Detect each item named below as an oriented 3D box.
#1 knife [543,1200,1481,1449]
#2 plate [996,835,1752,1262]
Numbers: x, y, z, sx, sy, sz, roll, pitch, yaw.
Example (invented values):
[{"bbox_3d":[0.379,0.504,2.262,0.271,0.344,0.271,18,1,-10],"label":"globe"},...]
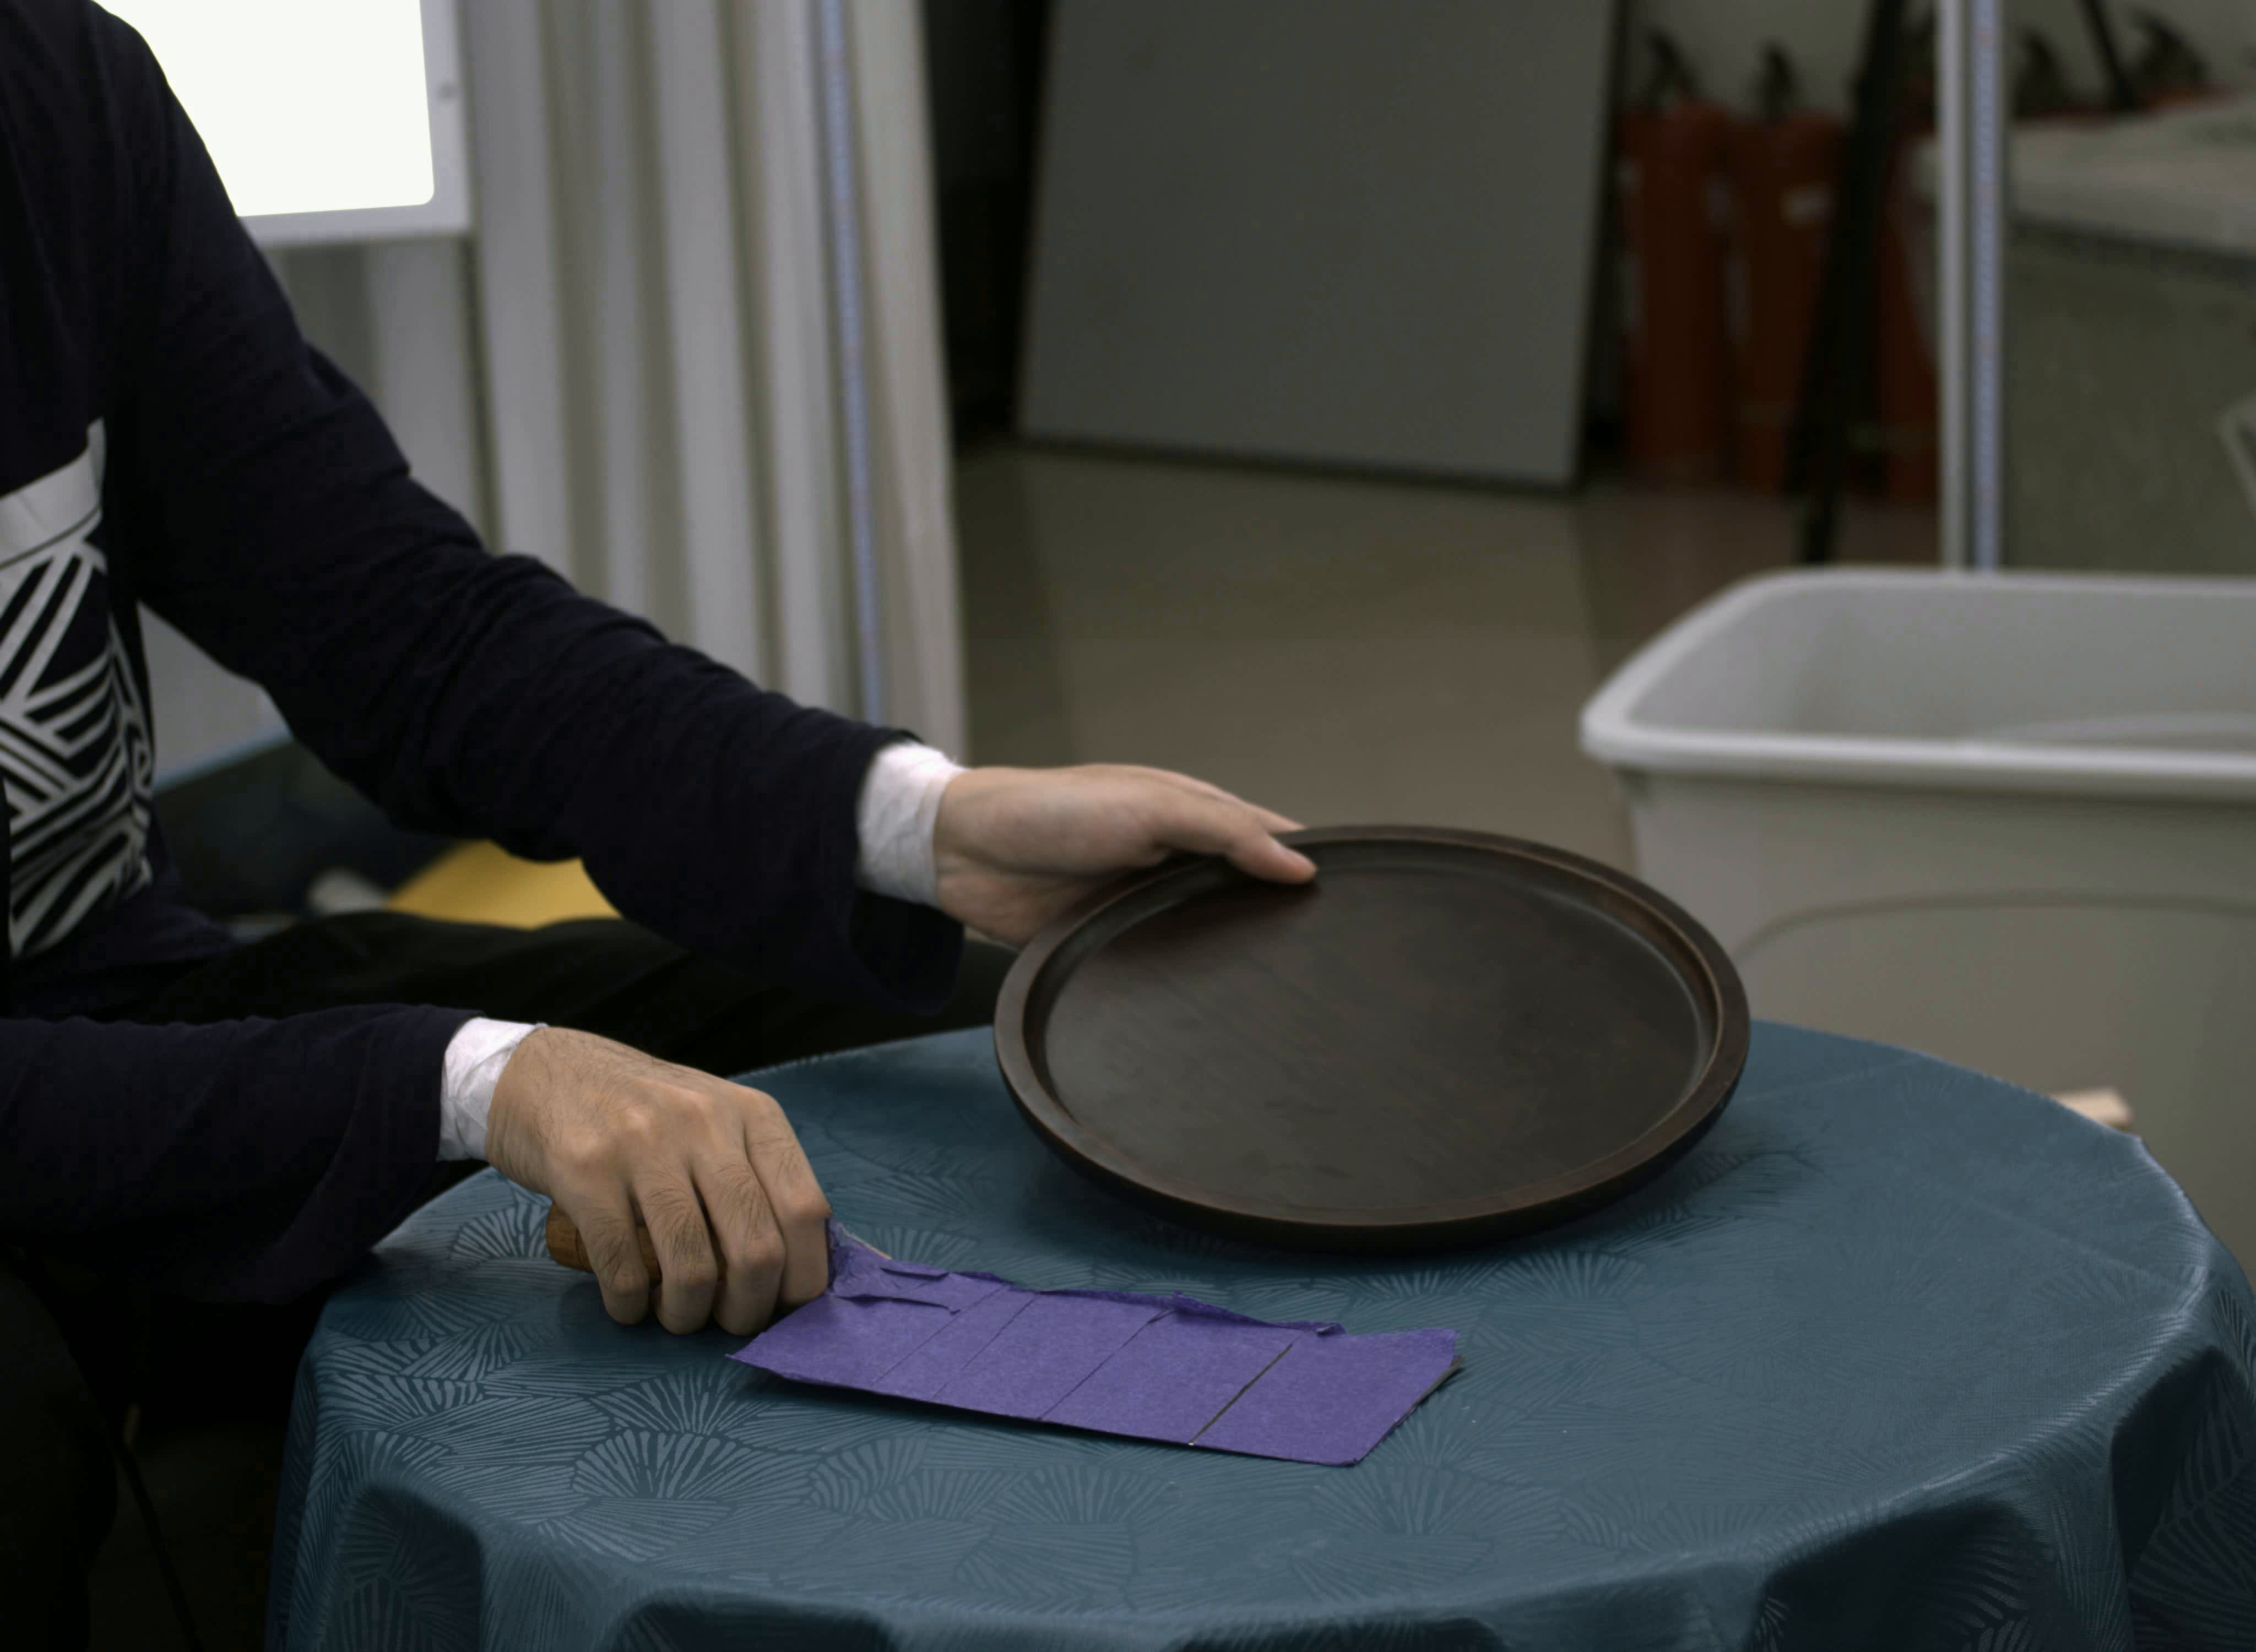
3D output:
[{"bbox_3d":[-0.053,0.149,1.620,0.316,0.032,0.102,3,16,28],"label":"knife"},{"bbox_3d":[0.081,0.071,1.784,0.251,0.029,0.256,-2,29,0],"label":"plate"}]
